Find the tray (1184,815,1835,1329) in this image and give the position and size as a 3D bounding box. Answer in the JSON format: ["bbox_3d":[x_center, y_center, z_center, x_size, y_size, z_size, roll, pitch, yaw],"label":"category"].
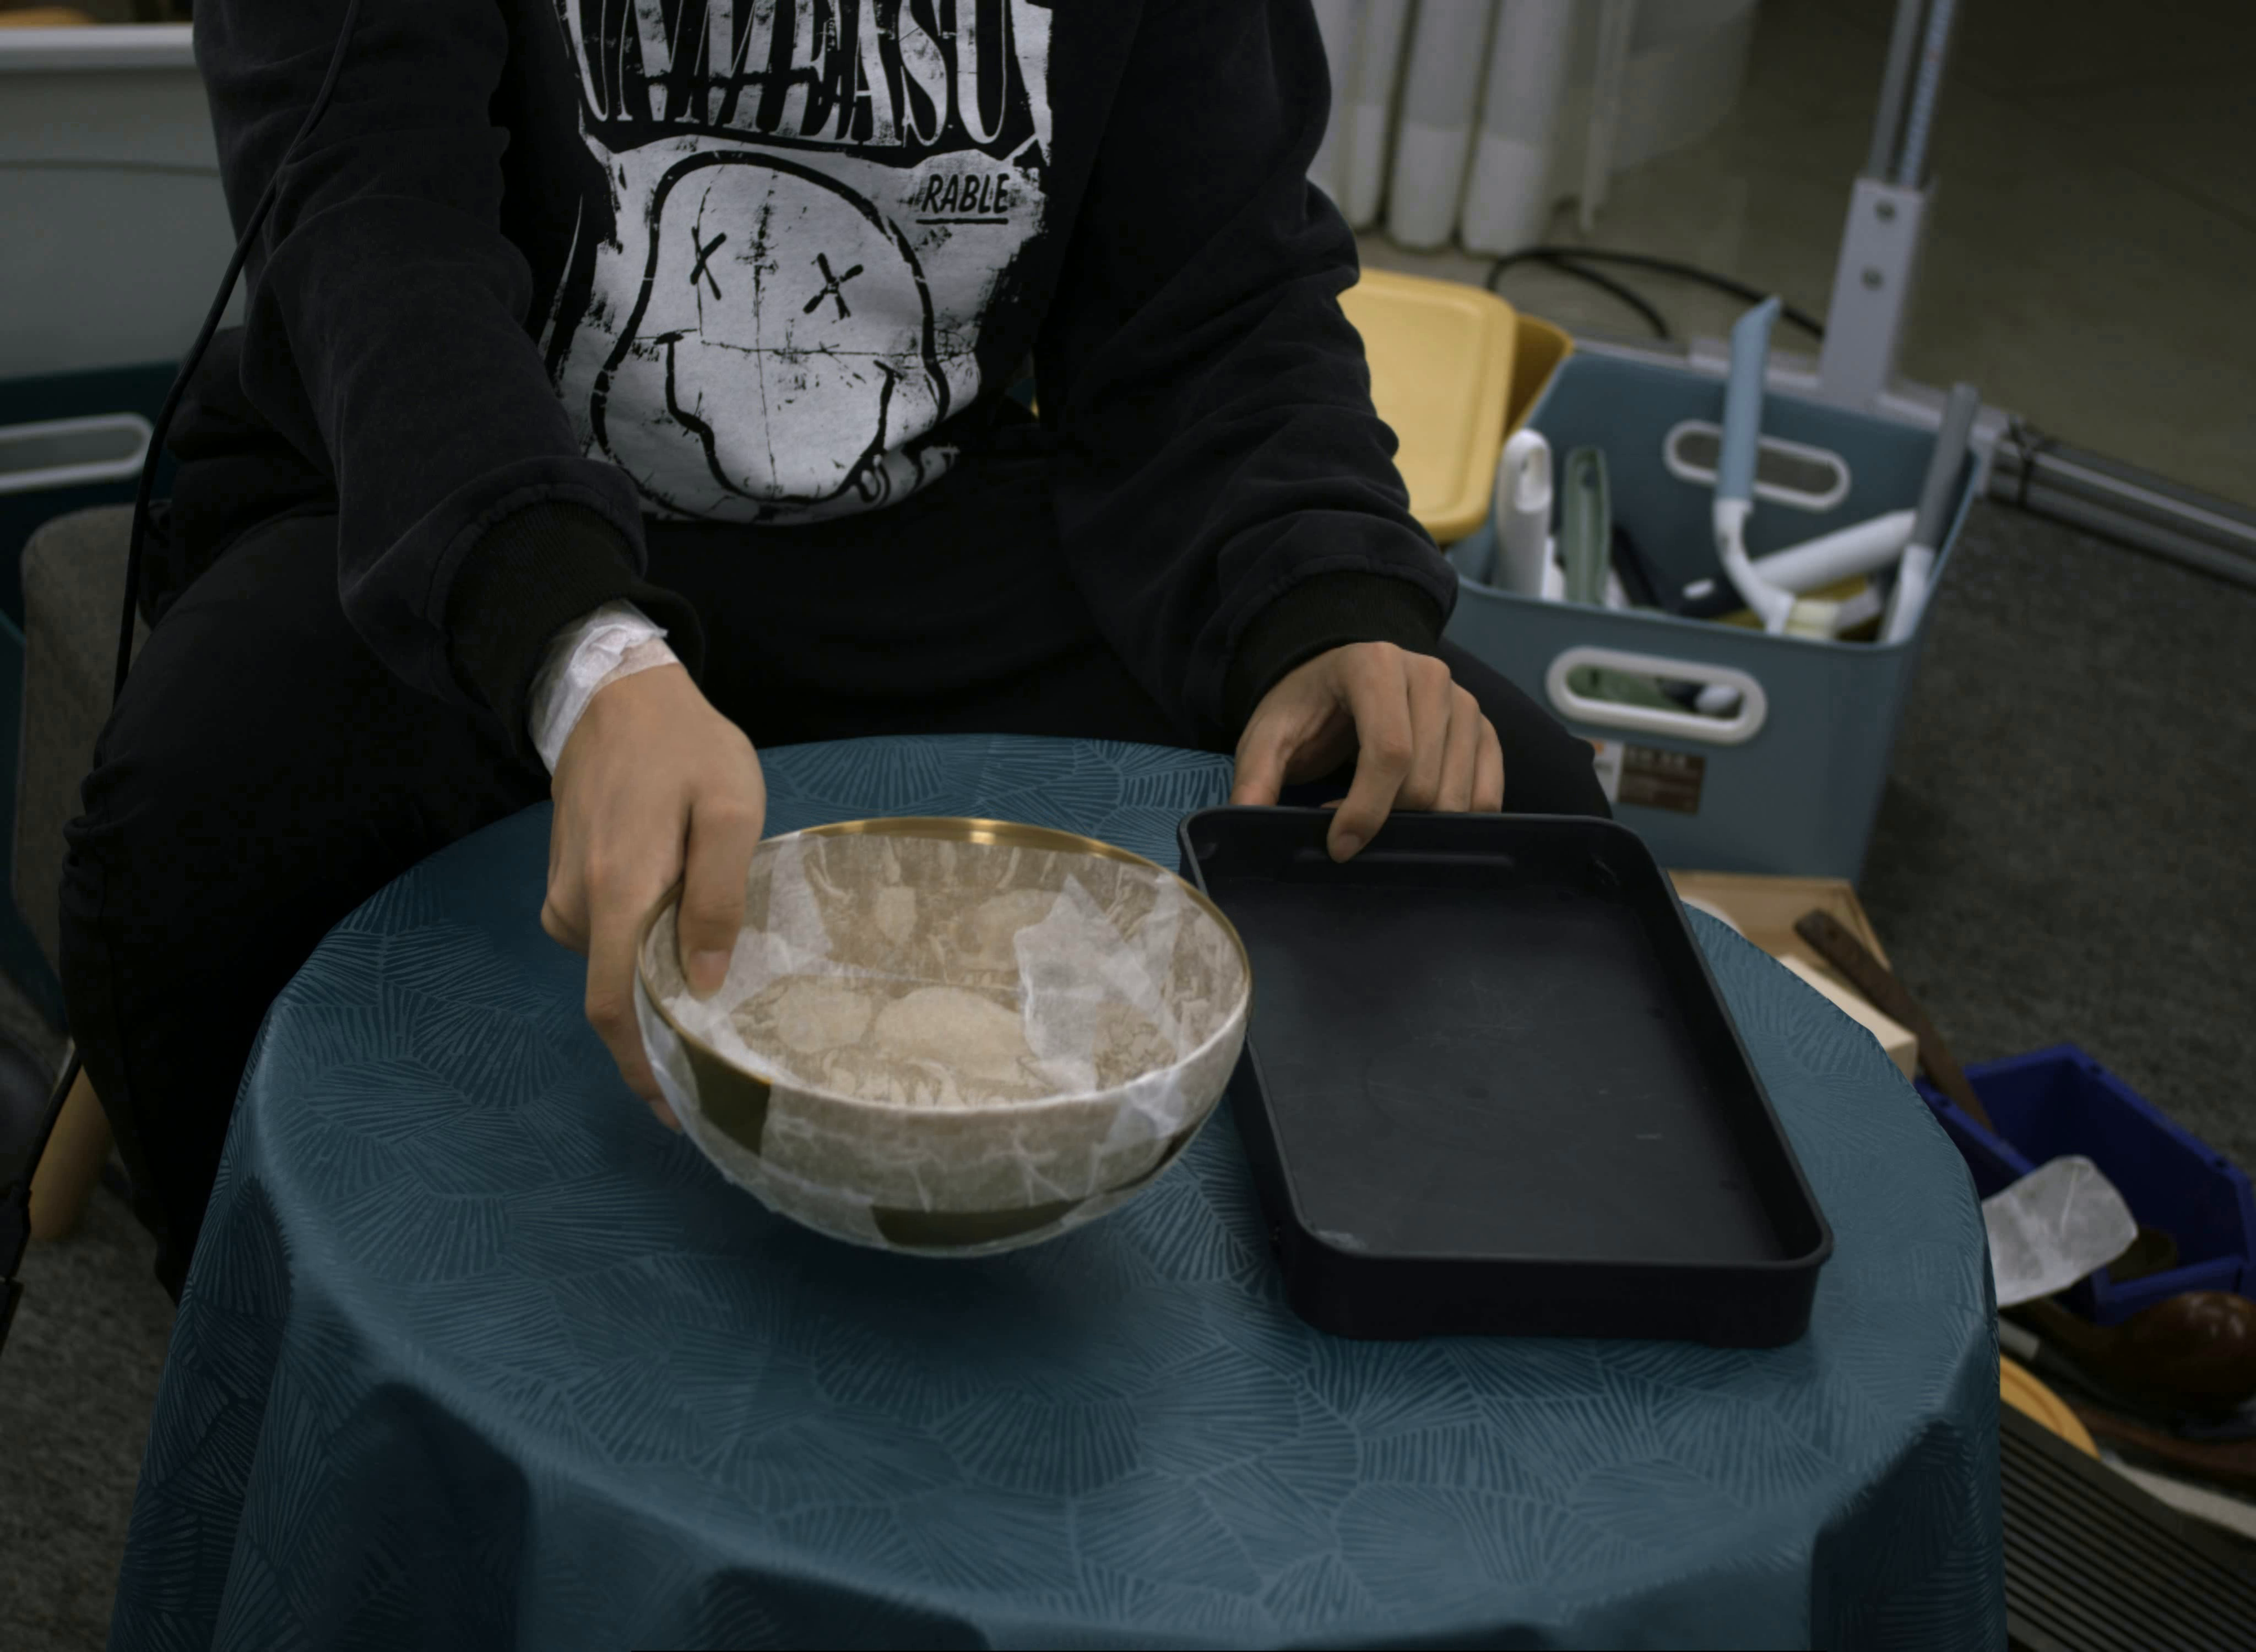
[{"bbox_3d":[0.125,0.081,1.867,0.183,0.037,0.320,1,25,-7],"label":"tray"}]

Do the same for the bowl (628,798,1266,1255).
[{"bbox_3d":[-0.060,0.077,1.738,0.214,0.094,0.216,1,27,-1],"label":"bowl"}]
